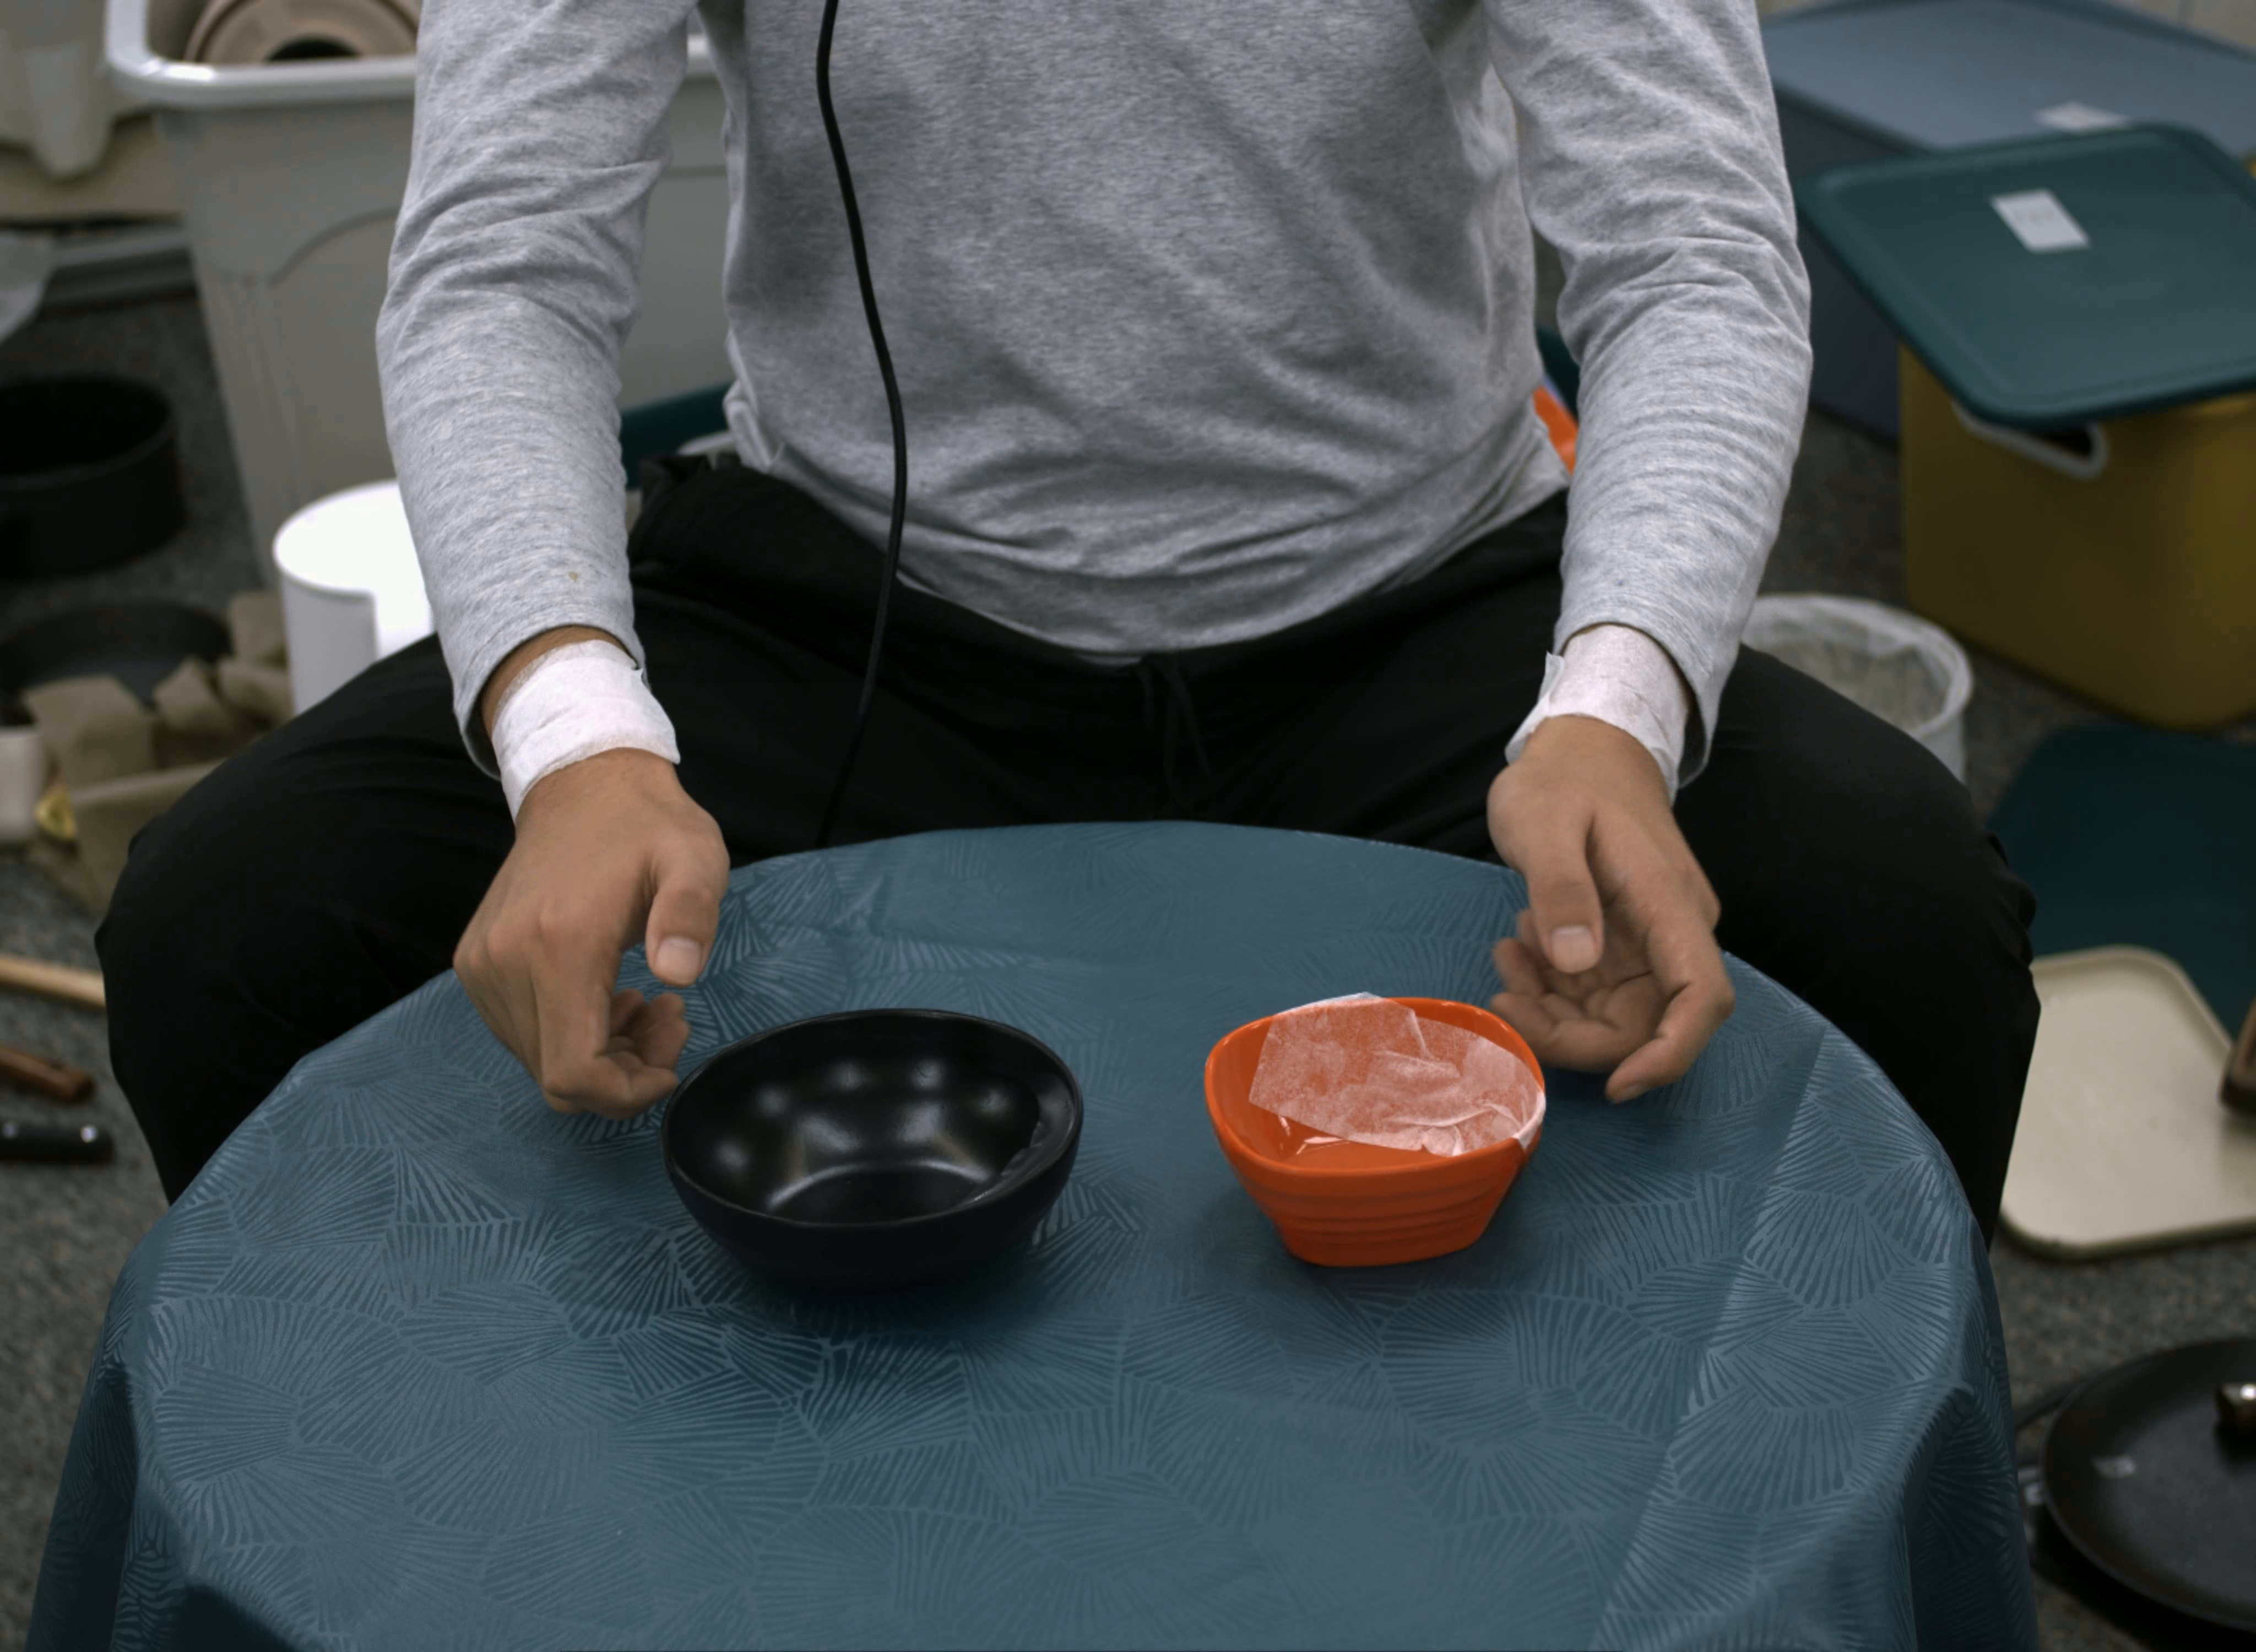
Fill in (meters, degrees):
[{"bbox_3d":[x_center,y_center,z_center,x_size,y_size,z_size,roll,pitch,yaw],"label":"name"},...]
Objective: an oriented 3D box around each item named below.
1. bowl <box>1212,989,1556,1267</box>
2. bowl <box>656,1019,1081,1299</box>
[{"bbox_3d":[0.084,0.103,1.831,0.118,0.051,0.121,-3,29,2],"label":"bowl"},{"bbox_3d":[-0.083,0.116,1.831,0.139,0.049,0.142,-1,24,1],"label":"bowl"}]
